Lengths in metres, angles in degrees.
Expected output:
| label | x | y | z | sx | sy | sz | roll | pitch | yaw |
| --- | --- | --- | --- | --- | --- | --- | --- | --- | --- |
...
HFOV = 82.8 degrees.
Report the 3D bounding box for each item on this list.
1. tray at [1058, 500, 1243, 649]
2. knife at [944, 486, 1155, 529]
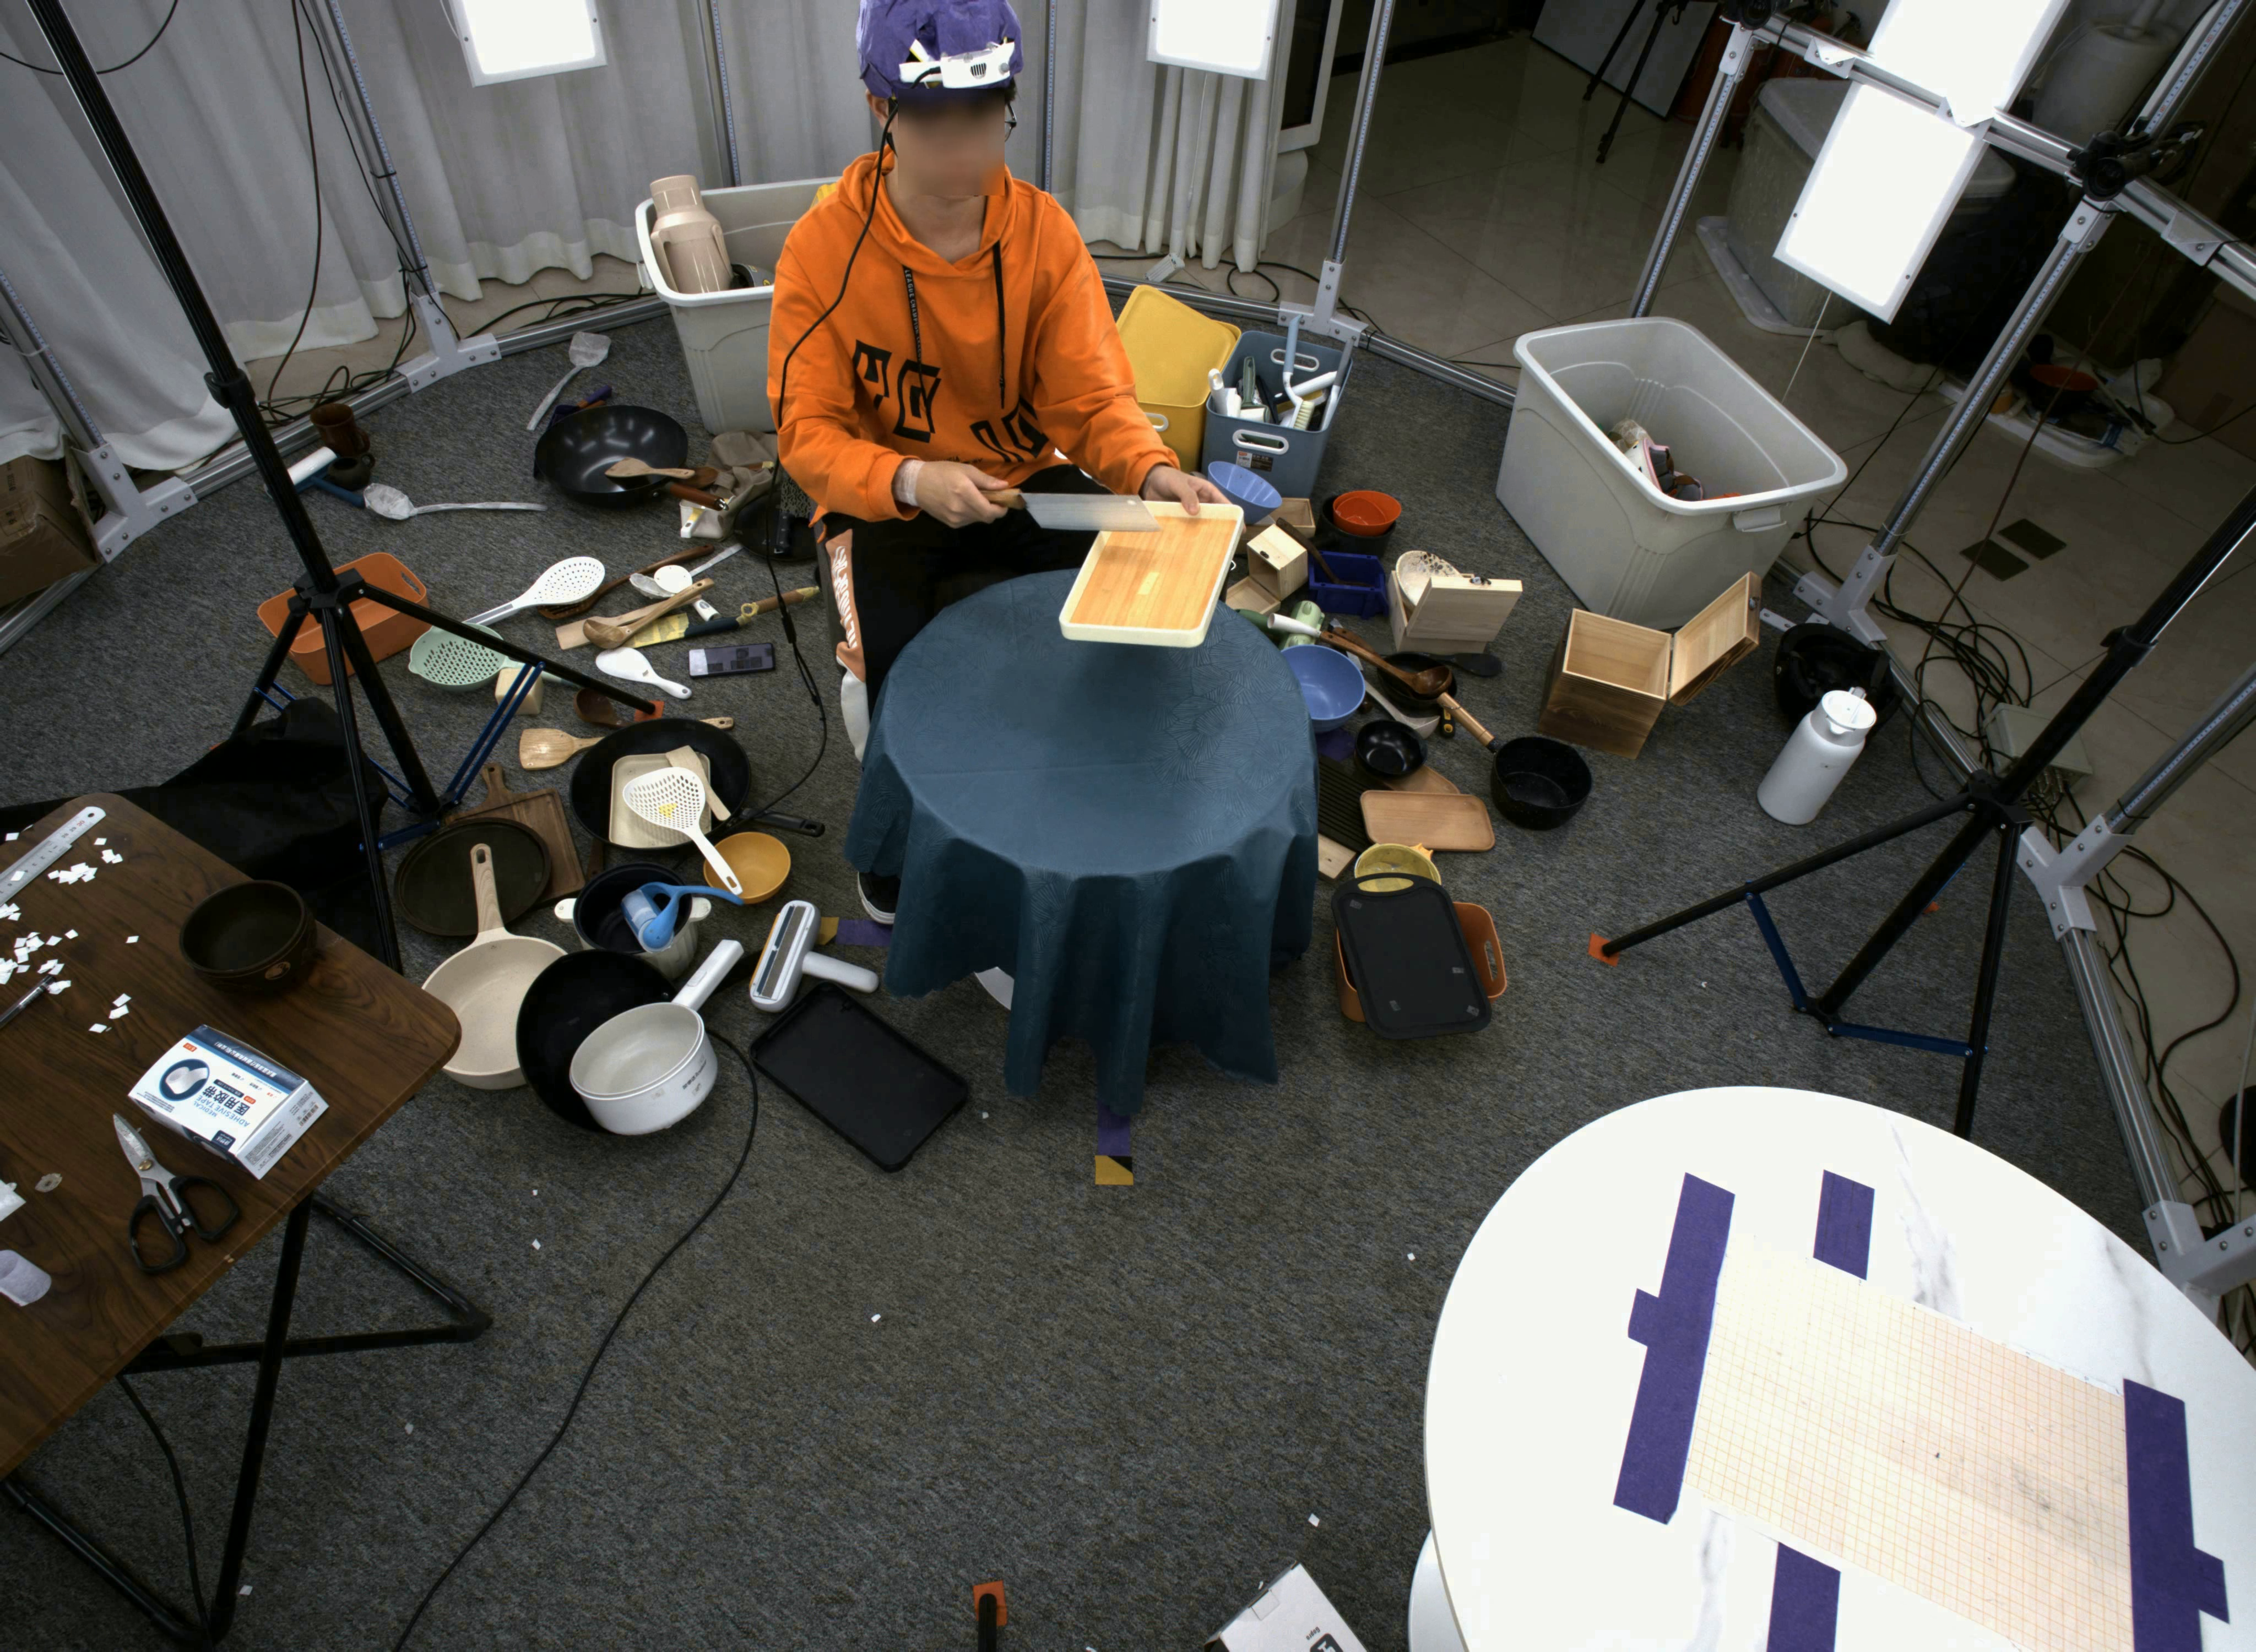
| label | x | y | z | sx | sy | sz | roll | pitch | yaw |
| --- | --- | --- | --- | --- | --- | --- | --- | --- | --- |
| tray | 0.036 | -0.342 | 1.718 | 0.192 | 0.027 | 0.307 | 6 | 45 | 15 |
| knife | -0.106 | -0.432 | 1.764 | 0.307 | 0.091 | 0.021 | 8 | 74 | 27 |
